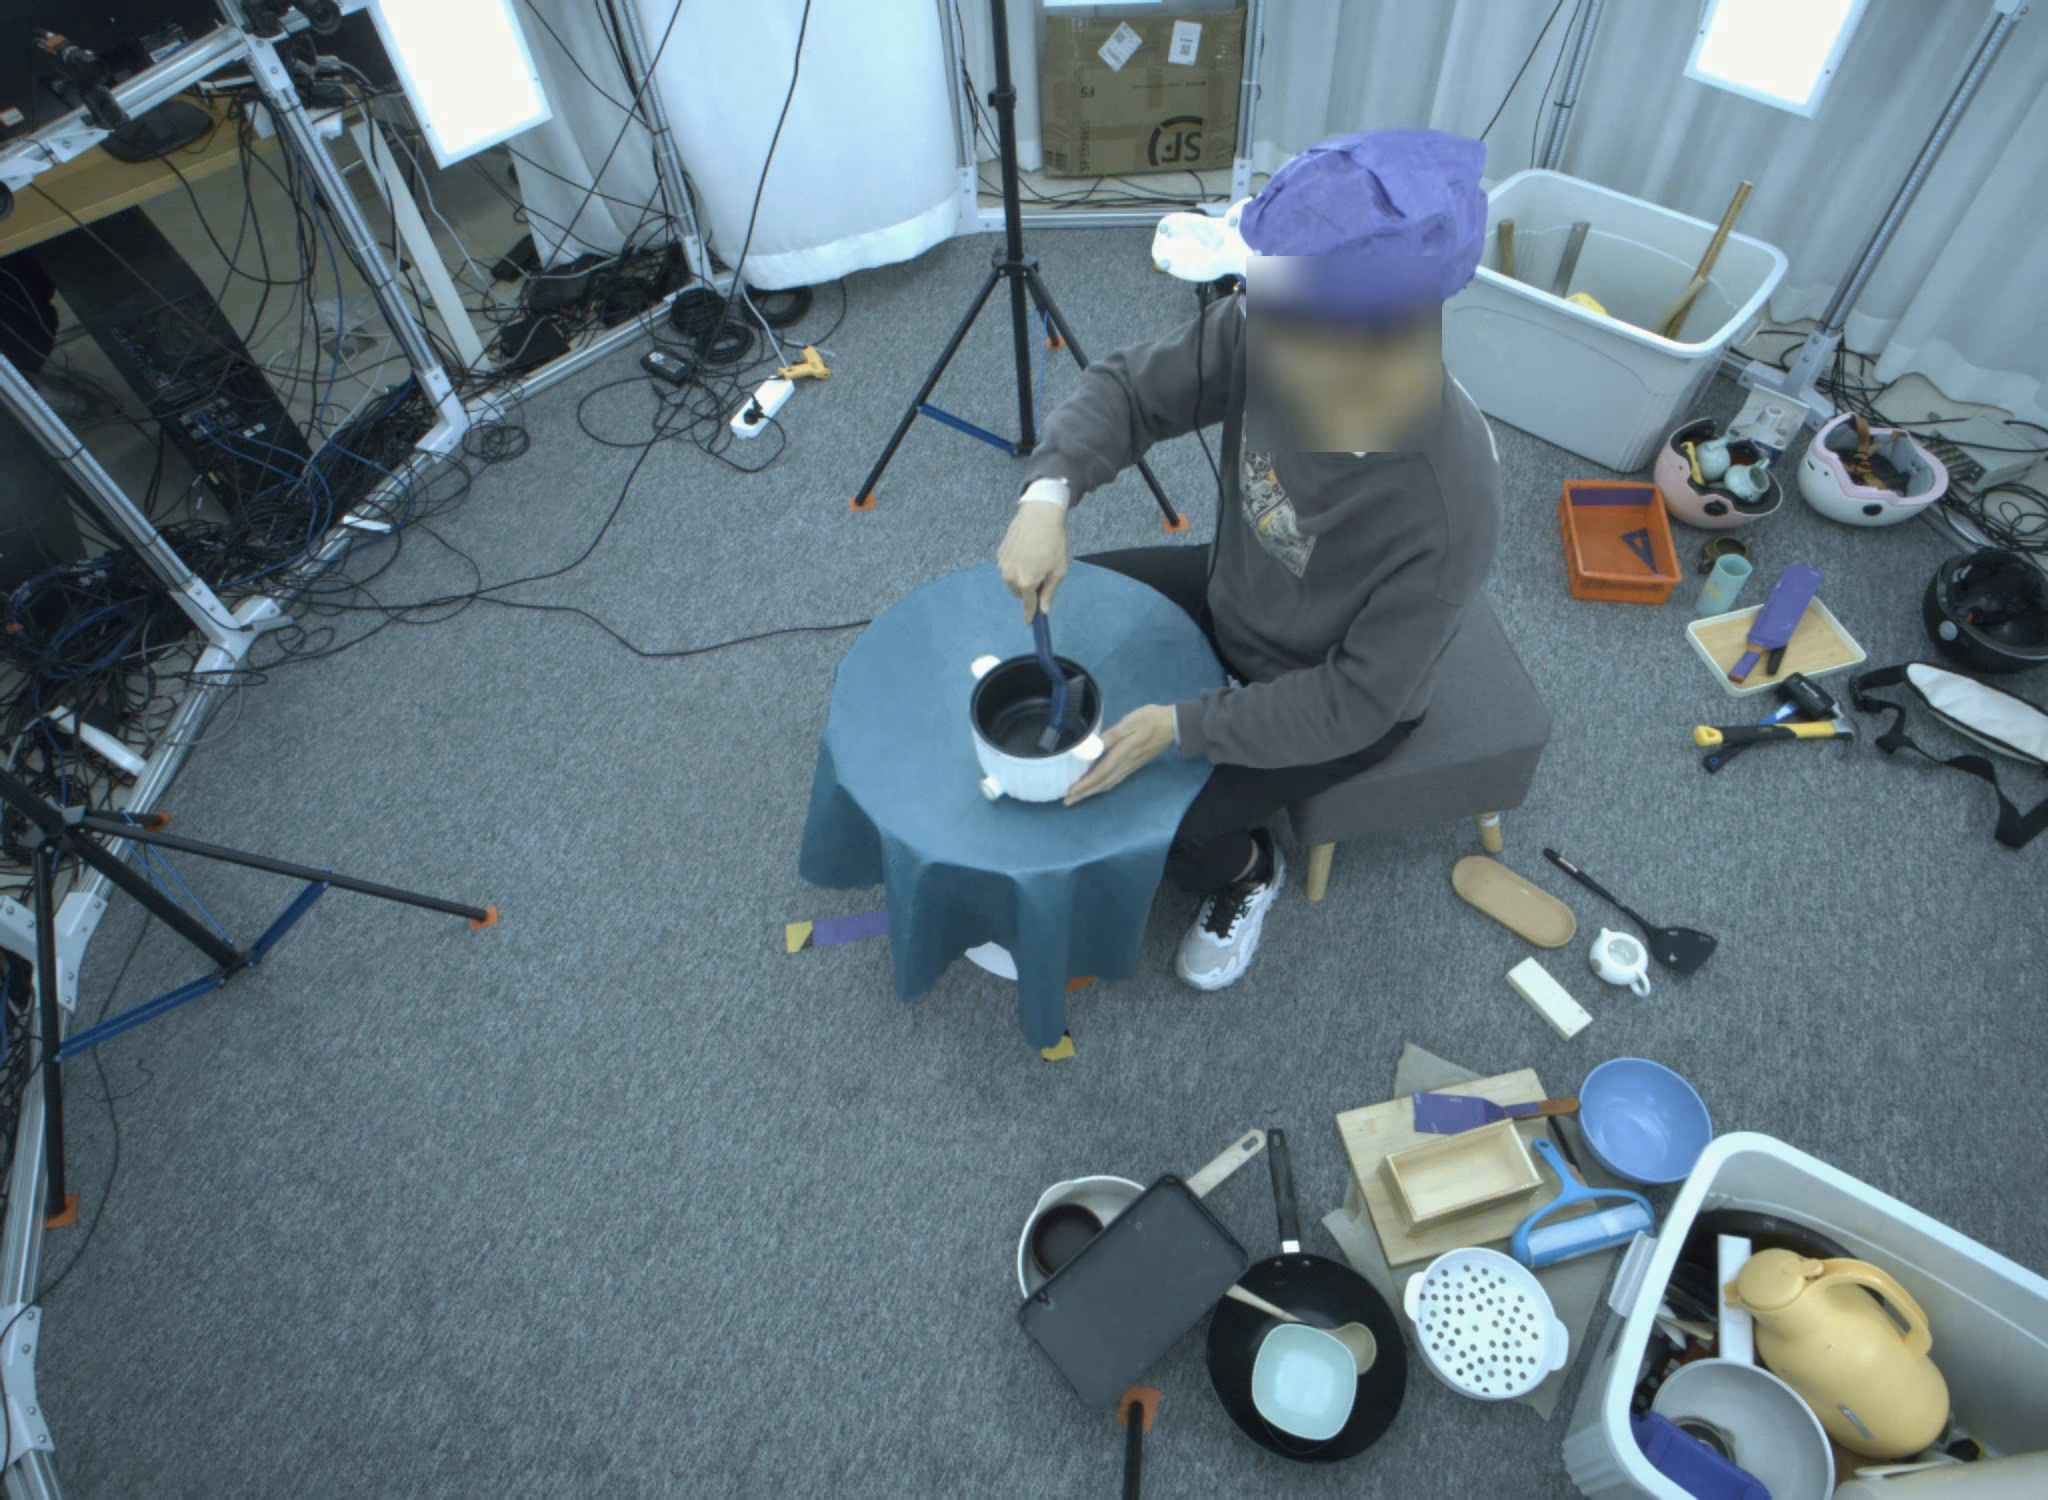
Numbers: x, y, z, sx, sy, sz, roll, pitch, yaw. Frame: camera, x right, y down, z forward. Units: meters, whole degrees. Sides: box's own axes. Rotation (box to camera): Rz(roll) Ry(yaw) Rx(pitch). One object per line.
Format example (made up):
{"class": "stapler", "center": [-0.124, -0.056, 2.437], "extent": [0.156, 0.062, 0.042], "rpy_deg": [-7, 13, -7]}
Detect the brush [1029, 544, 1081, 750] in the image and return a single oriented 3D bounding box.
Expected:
{"class": "brush", "center": [0.023, -0.136, 1.645], "extent": [0.097, 0.276, 0.033], "rpy_deg": [-29, 29, -25]}

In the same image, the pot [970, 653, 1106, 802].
{"class": "pot", "center": [0.018, -0.019, 1.711], "extent": [0.192, 0.144, 0.236], "rpy_deg": [-37, 59, -26]}
